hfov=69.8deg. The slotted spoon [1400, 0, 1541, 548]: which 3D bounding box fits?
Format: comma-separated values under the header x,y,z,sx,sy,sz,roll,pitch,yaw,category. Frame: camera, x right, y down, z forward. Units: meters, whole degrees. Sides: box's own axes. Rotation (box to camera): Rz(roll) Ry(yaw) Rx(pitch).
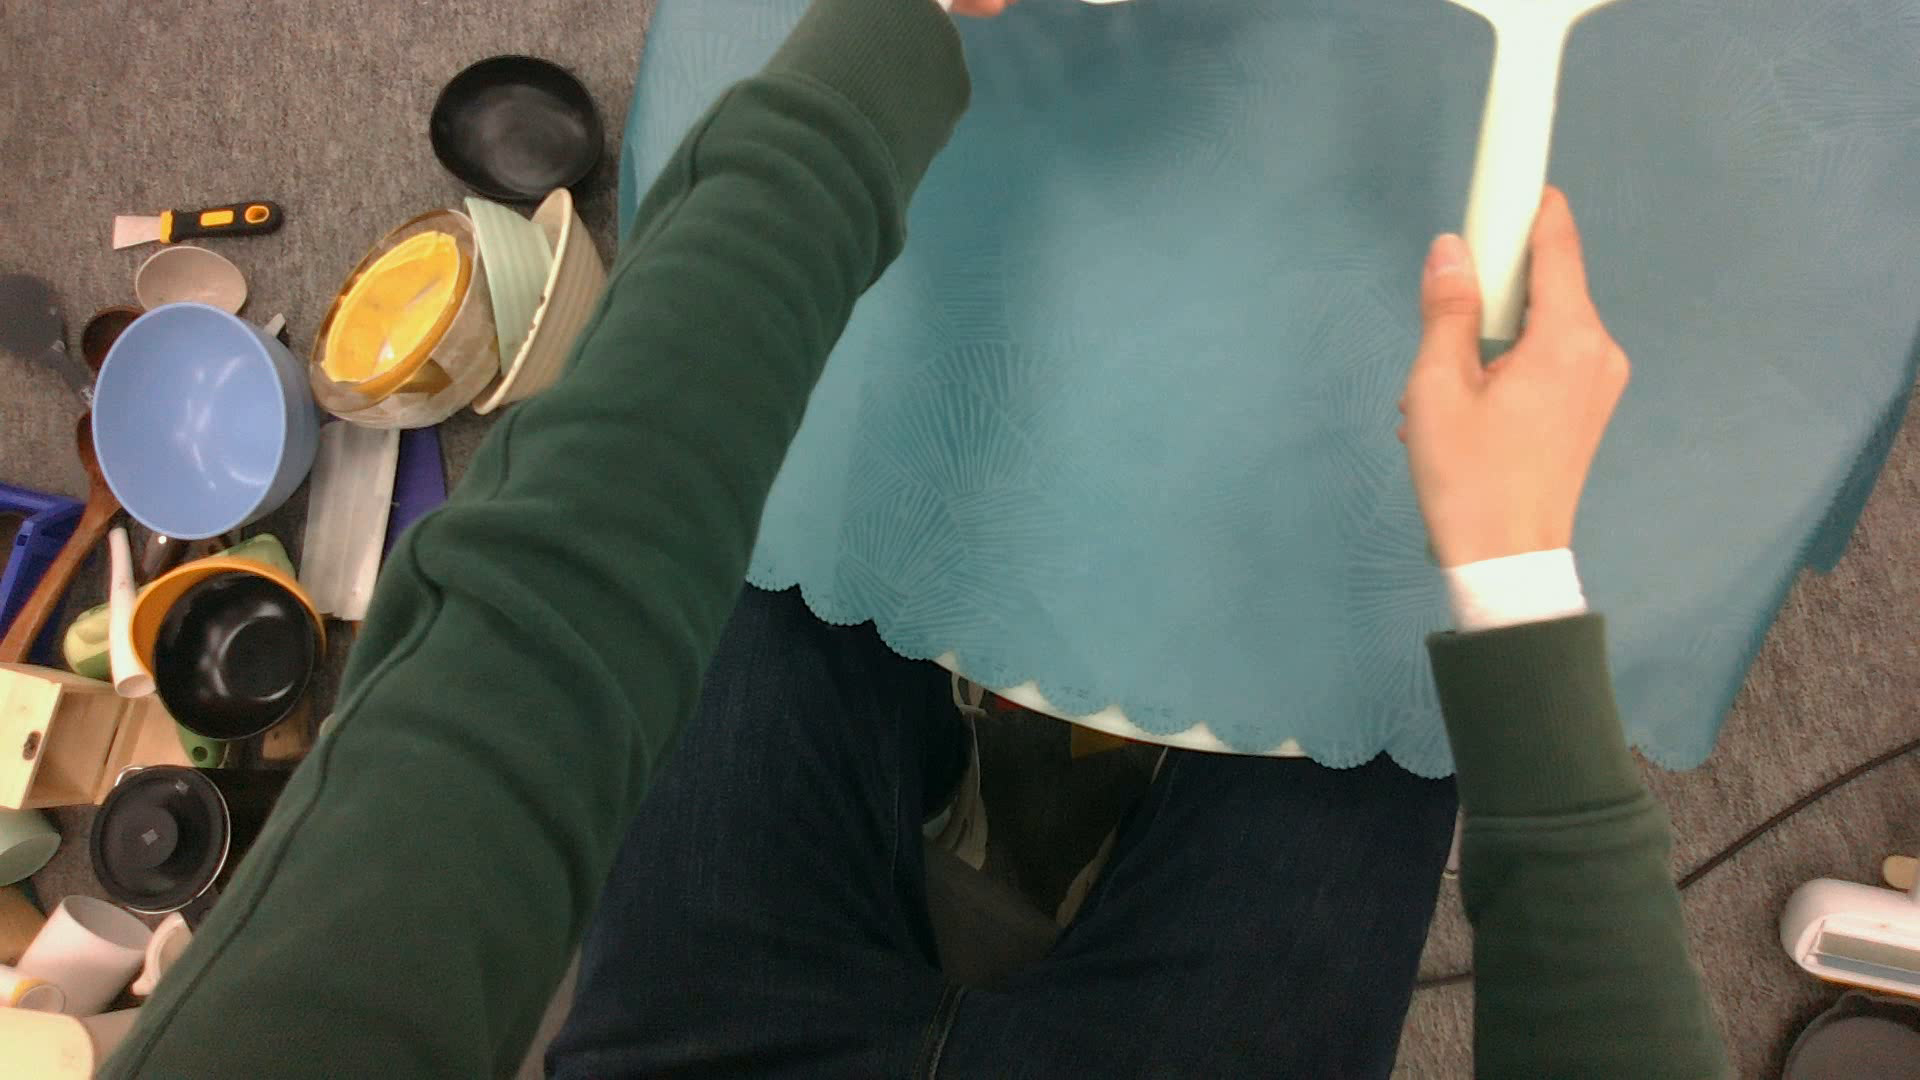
x,y,z,sx,sy,sz,roll,pitch,yaw,category
0.186,-0.175,0.483,0.169,0.075,0.358,10,93,36,slotted spoon
